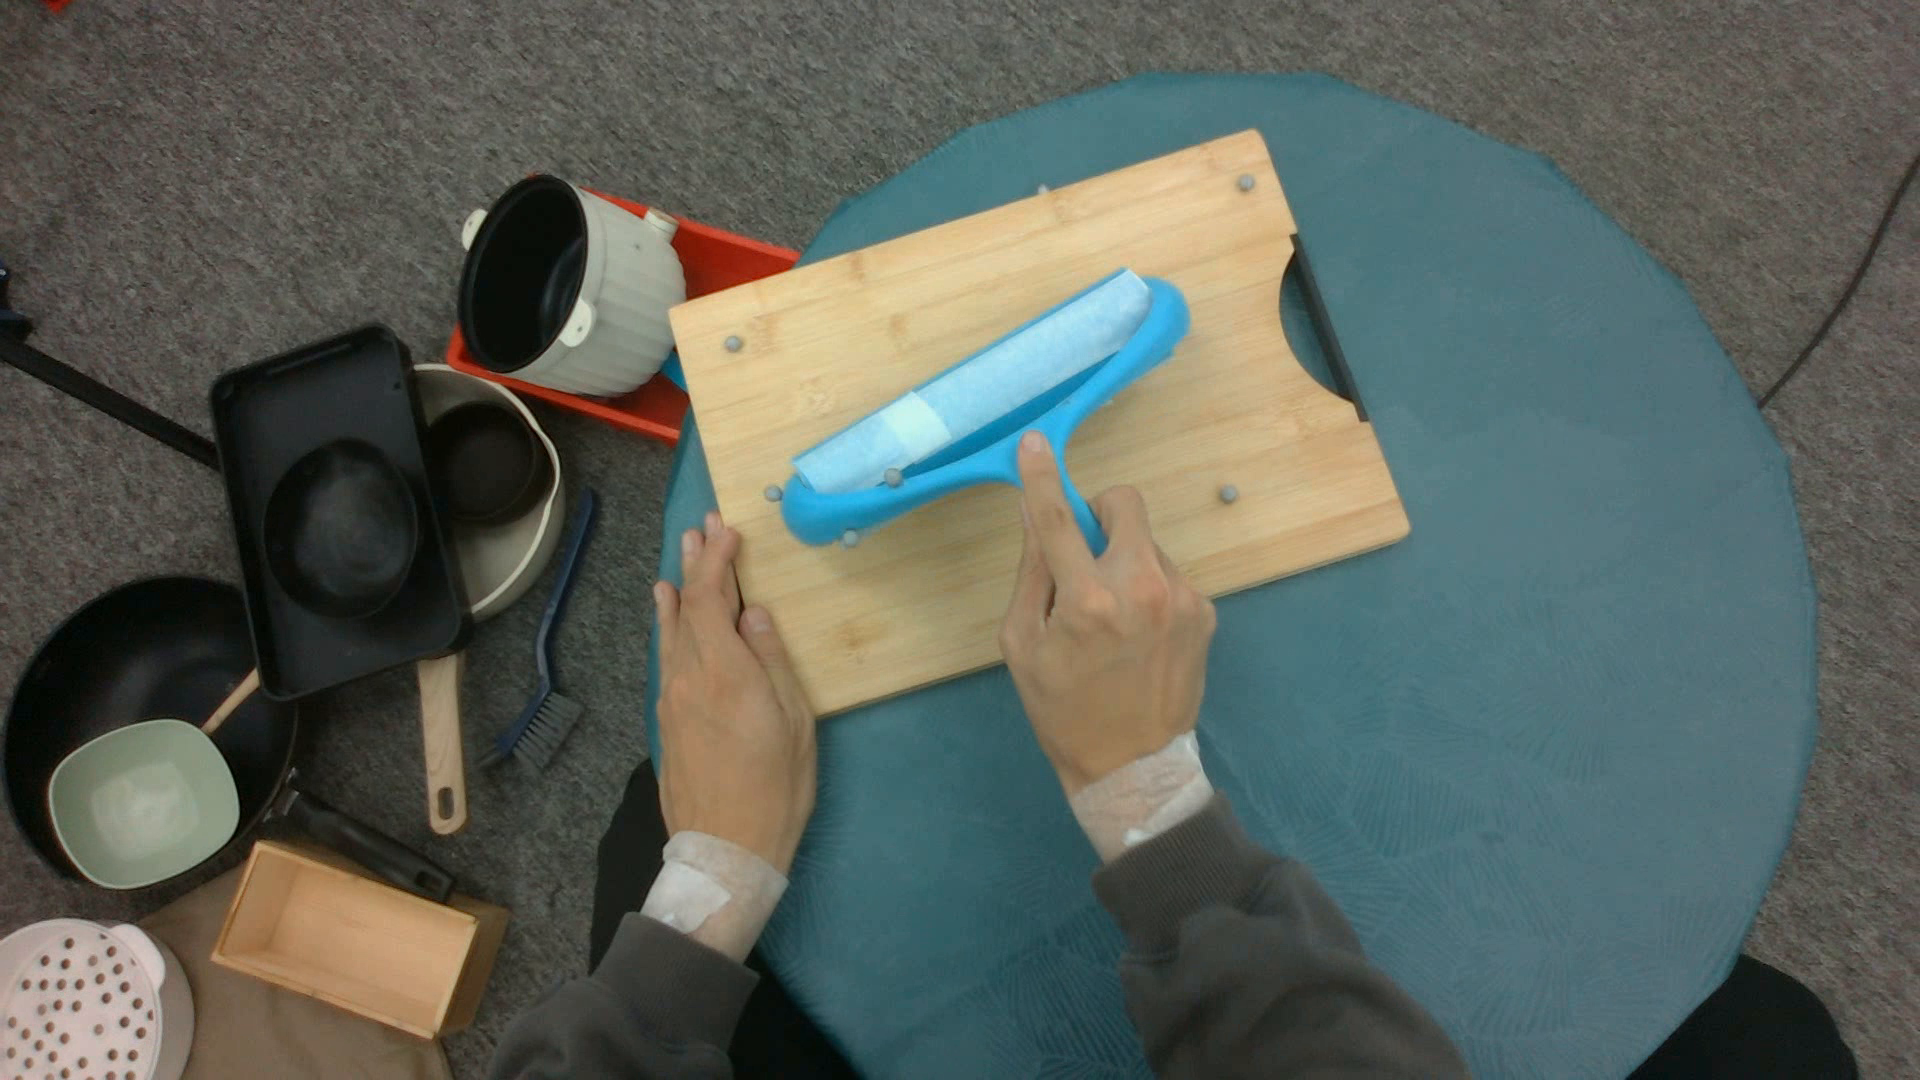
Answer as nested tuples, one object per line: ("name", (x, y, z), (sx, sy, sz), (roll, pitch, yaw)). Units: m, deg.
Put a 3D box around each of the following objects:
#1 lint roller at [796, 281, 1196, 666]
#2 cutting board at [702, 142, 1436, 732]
("lint roller", (0.047, -0.022, 0.665), (0.229, 0.068, 0.180), (-32, 55, -7))
("cutting board", (0.048, -0.060, 0.751), (0.348, 0.023, 0.251), (-18, 77, 0))
